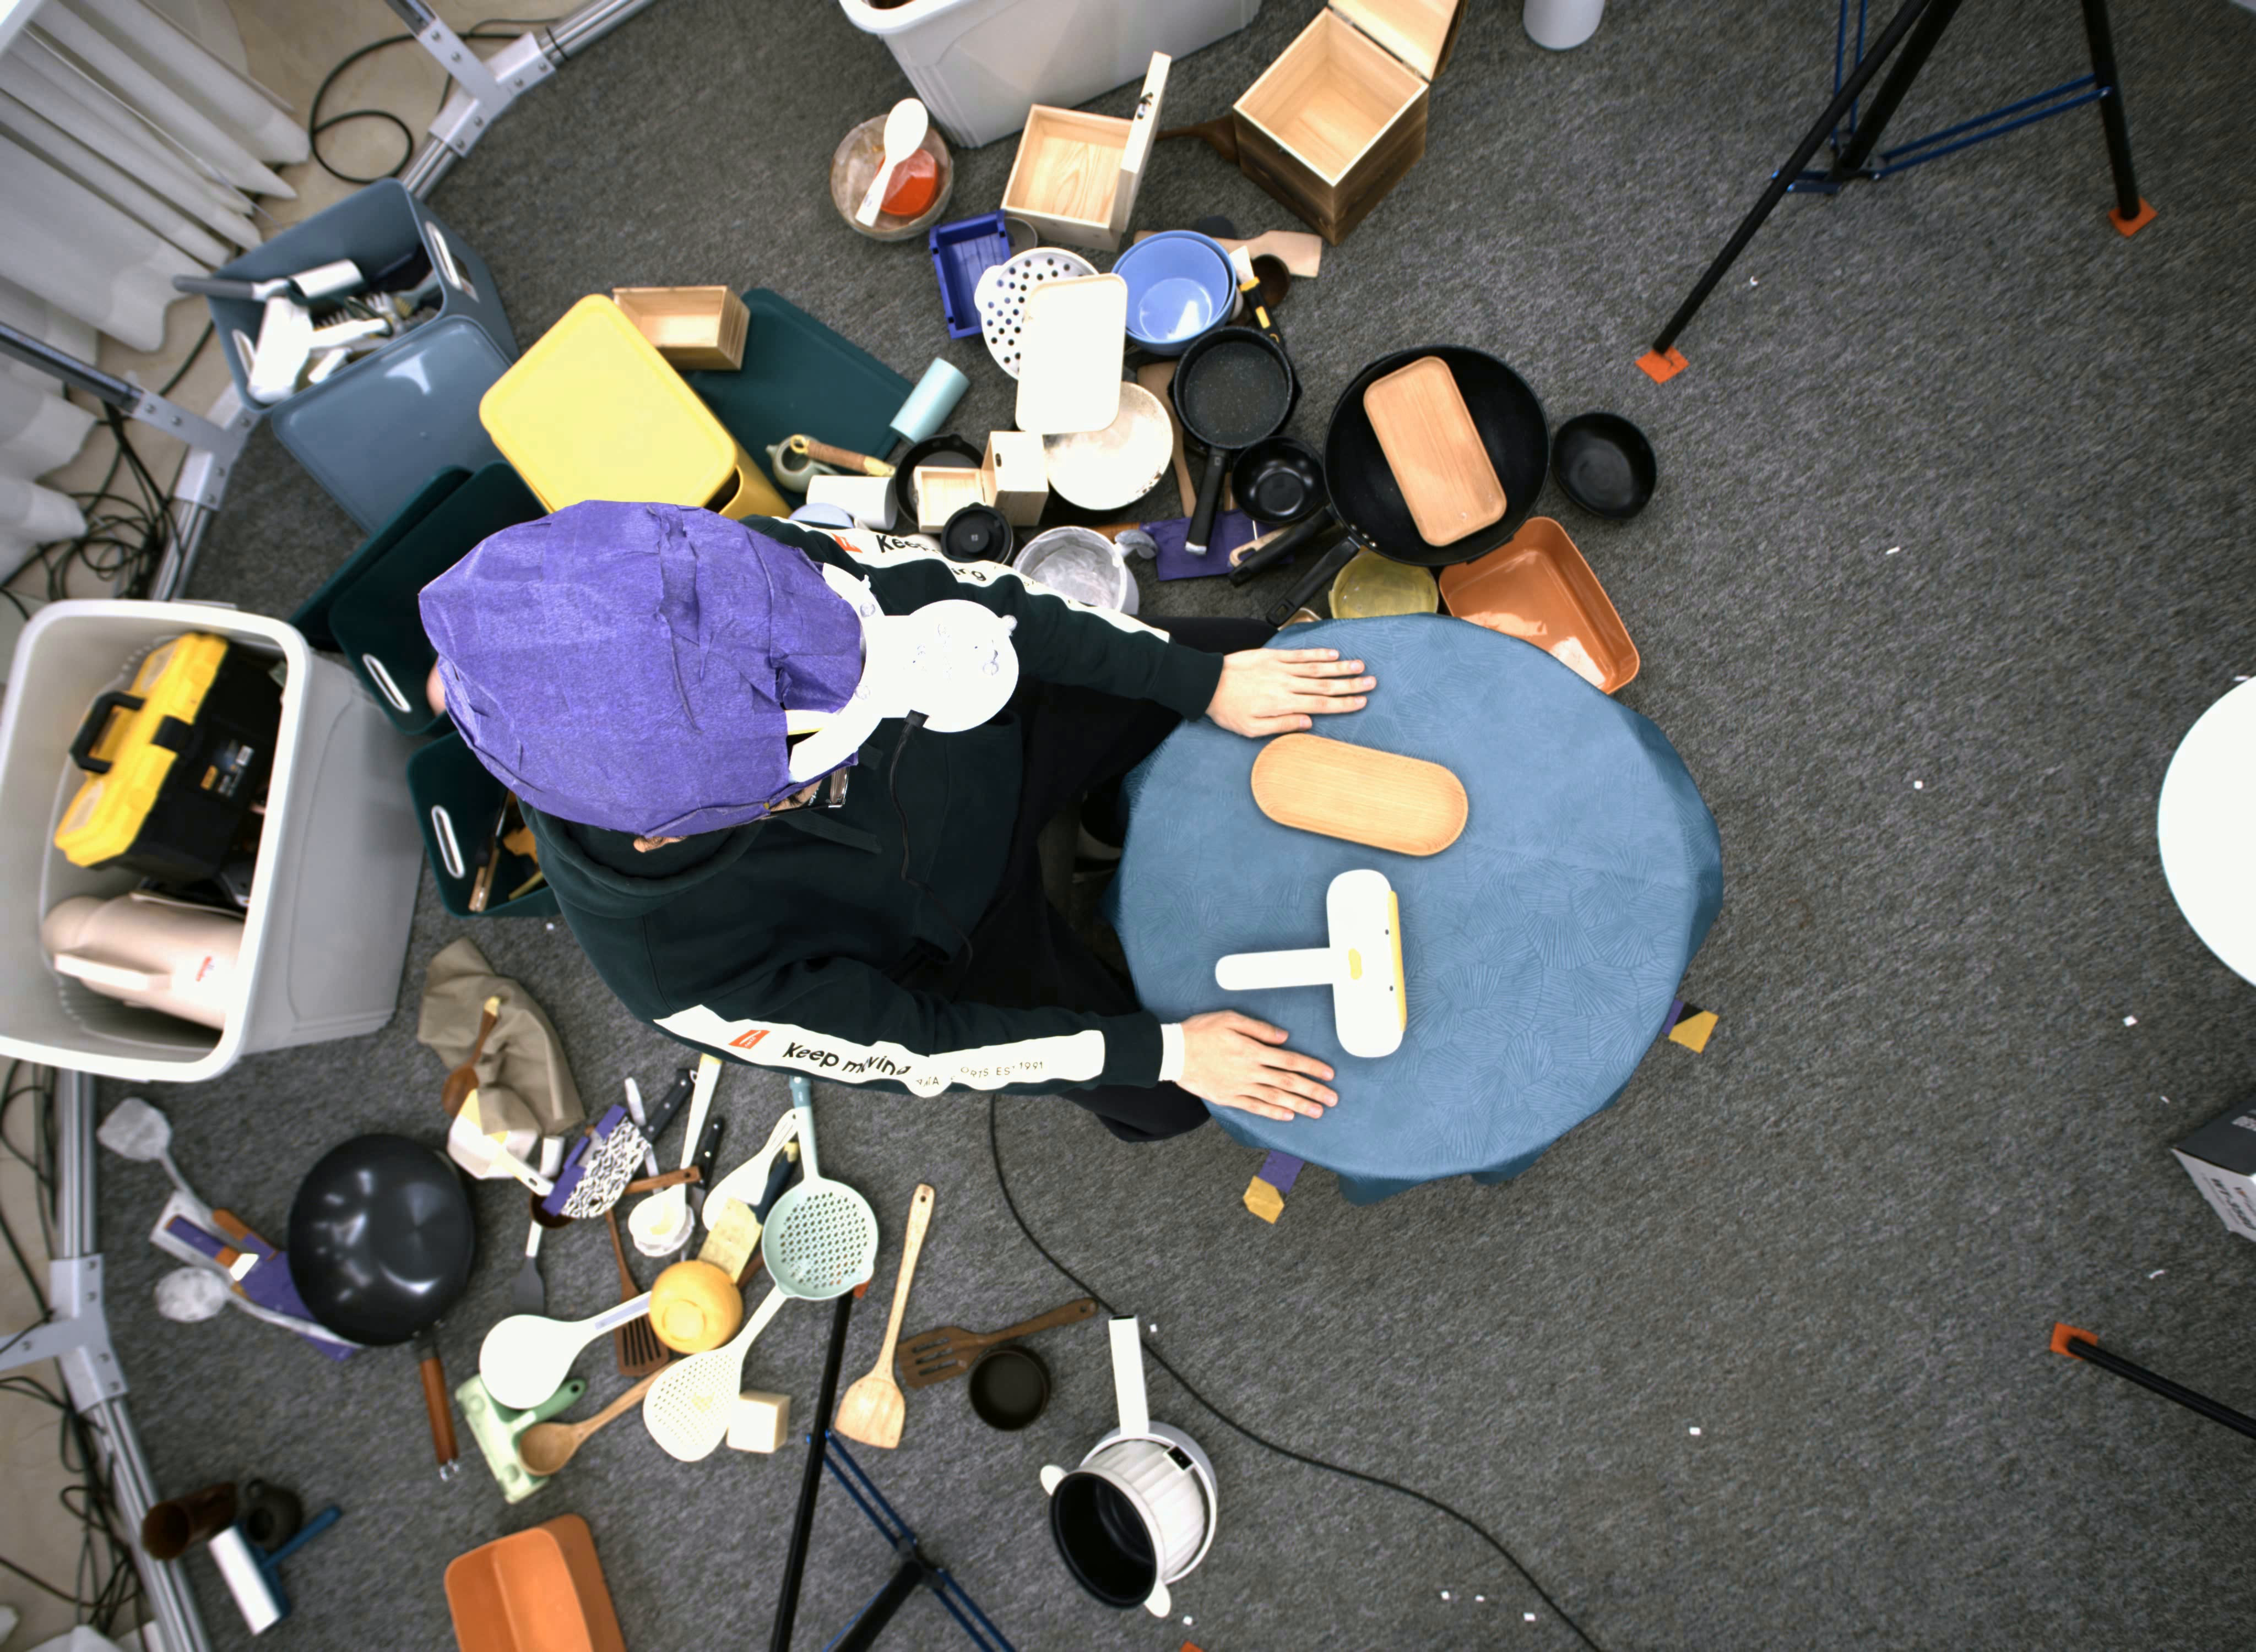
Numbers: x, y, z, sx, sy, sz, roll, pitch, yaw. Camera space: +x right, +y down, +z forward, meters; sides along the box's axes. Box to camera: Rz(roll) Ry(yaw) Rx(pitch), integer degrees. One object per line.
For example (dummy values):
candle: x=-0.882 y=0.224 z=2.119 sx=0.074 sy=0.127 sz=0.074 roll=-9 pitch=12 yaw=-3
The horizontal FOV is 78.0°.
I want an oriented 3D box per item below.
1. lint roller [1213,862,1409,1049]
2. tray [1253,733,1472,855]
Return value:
lint roller: x=0.185 y=0.141 z=1.433 sx=0.194 sy=0.073 sz=0.193 roll=-8 pitch=93 yaw=16
tray: x=0.247 y=-0.036 z=1.457 sx=0.231 sy=0.020 sz=0.101 roll=13 pitch=90 yaw=10
